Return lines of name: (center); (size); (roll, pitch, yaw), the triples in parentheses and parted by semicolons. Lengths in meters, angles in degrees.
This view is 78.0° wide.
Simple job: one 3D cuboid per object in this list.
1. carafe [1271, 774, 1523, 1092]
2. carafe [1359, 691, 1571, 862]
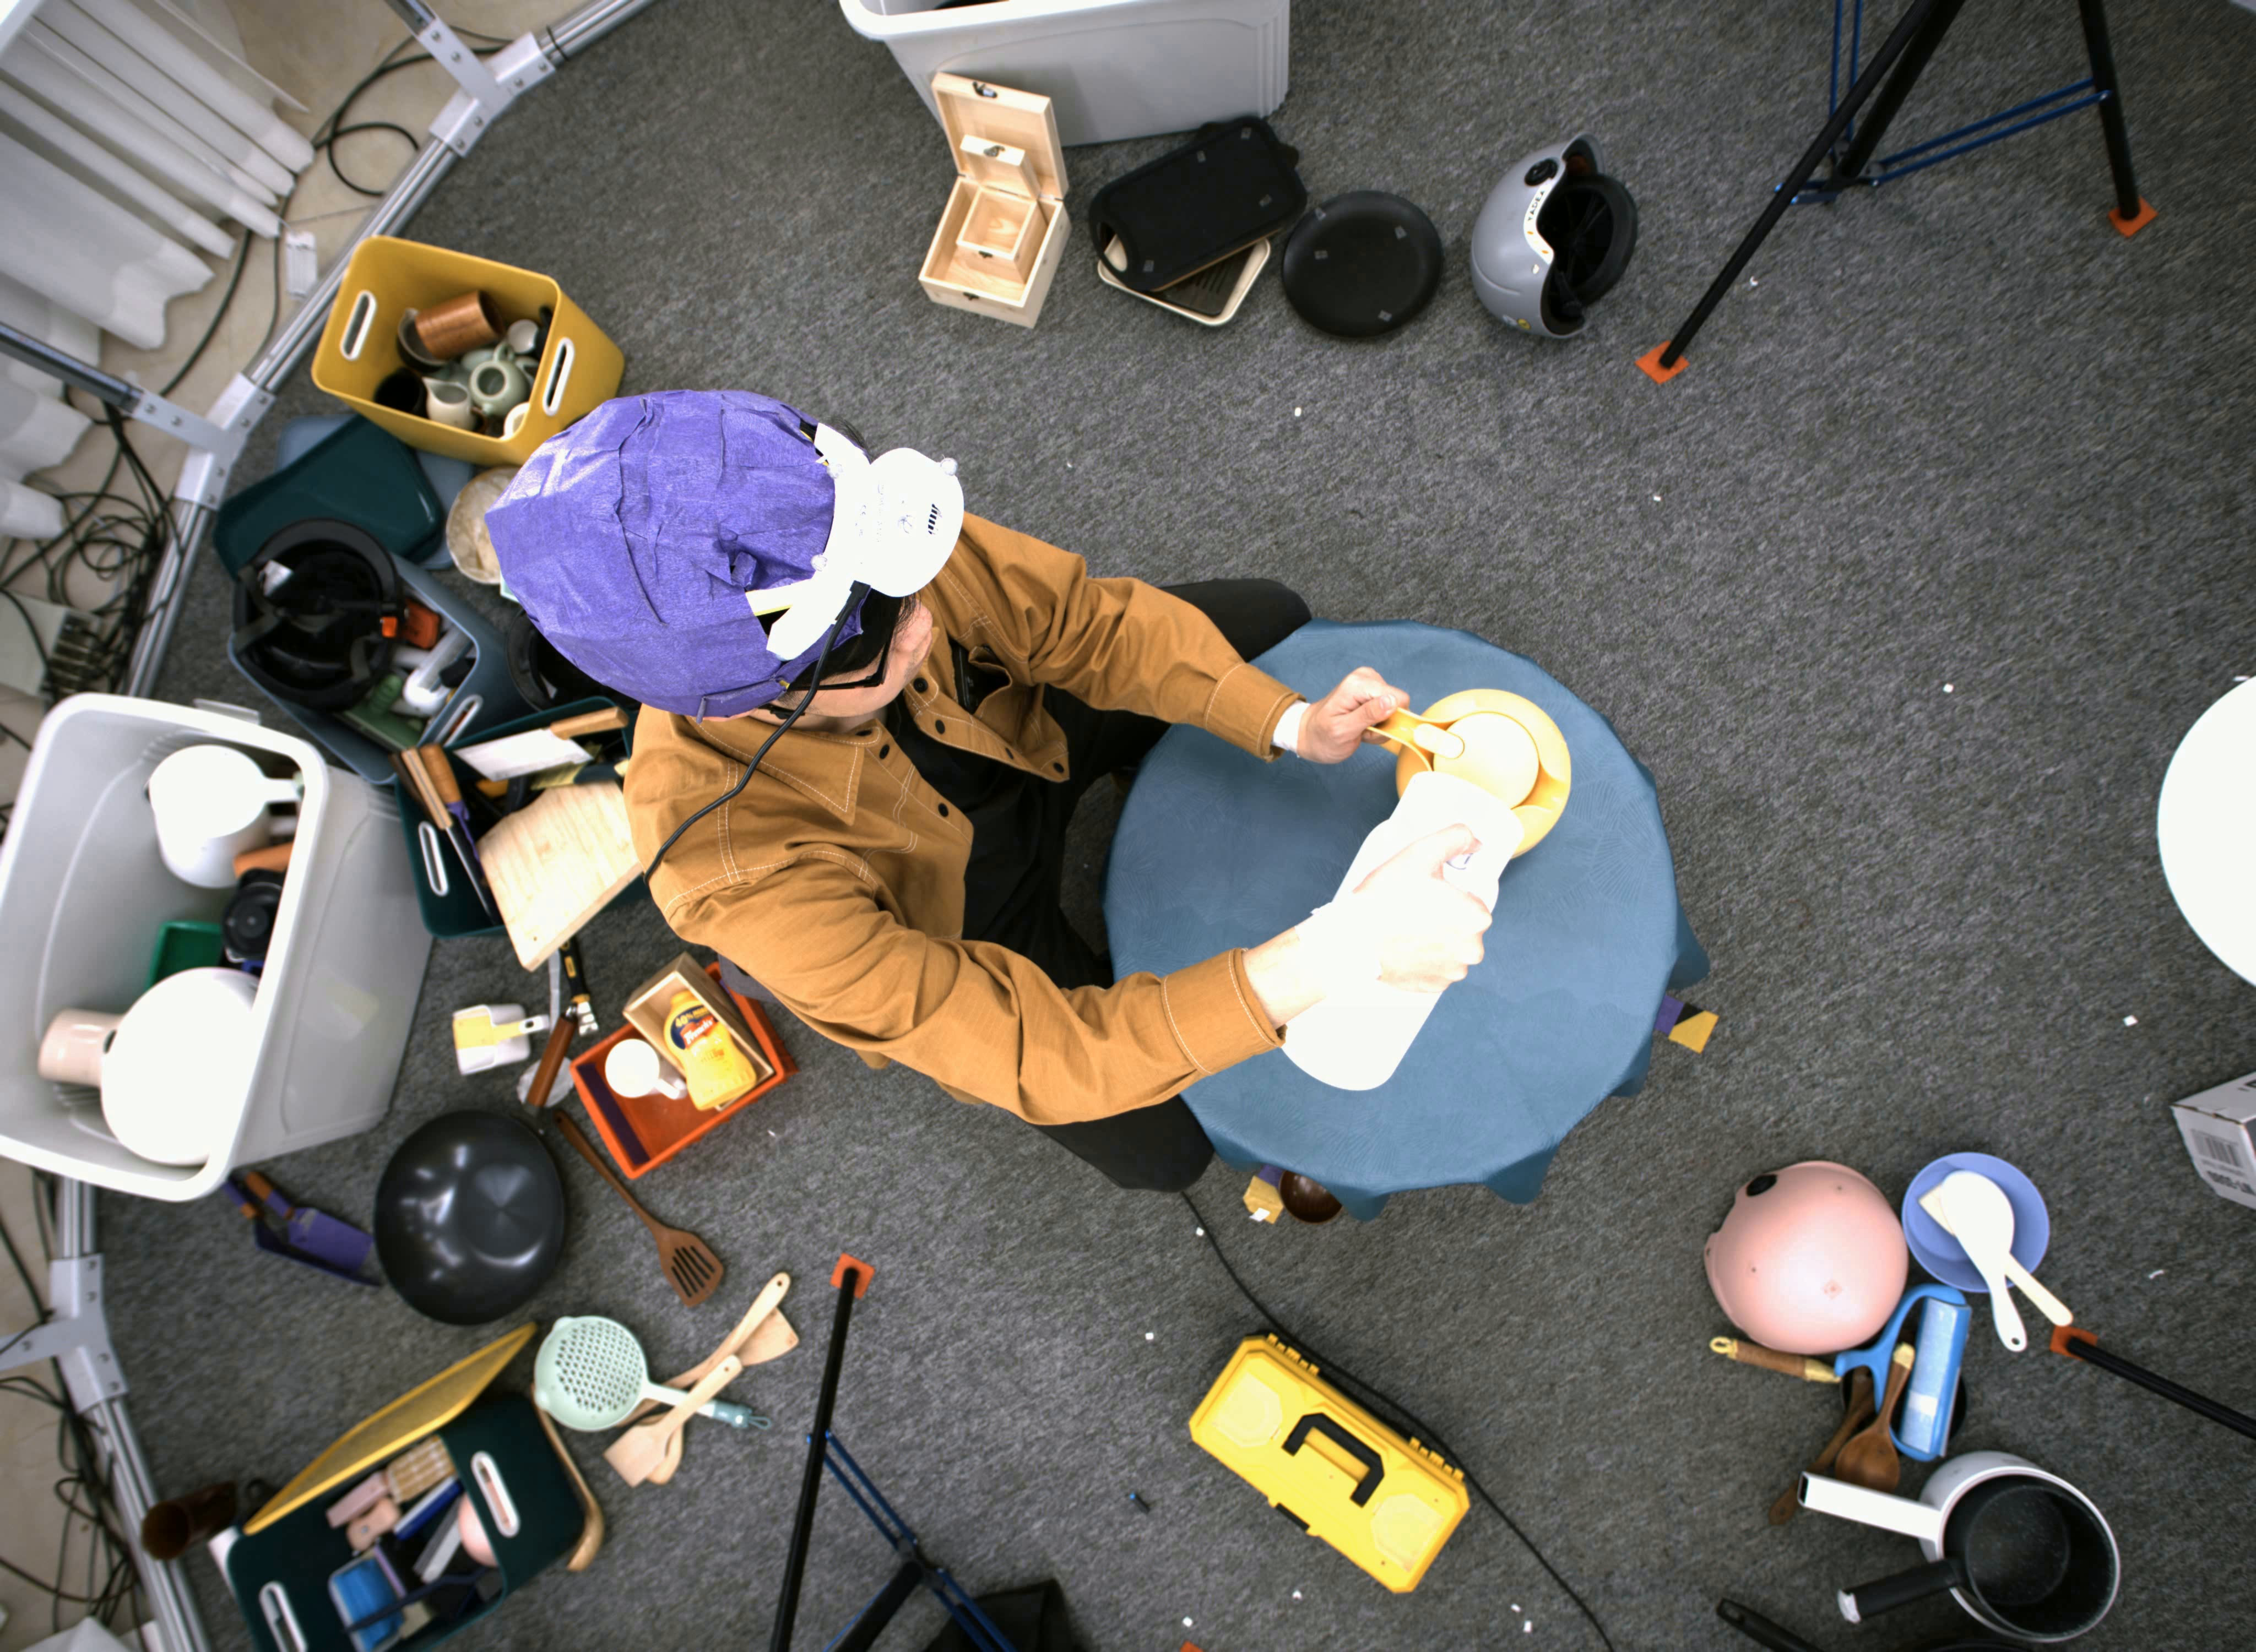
carafe: (0.218, 0.099, 1.141); (0.124, 0.168, 0.275); (26, 123, 2)
carafe: (0.315, -0.058, 1.294); (0.202, 0.260, 0.164); (30, 93, 11)
